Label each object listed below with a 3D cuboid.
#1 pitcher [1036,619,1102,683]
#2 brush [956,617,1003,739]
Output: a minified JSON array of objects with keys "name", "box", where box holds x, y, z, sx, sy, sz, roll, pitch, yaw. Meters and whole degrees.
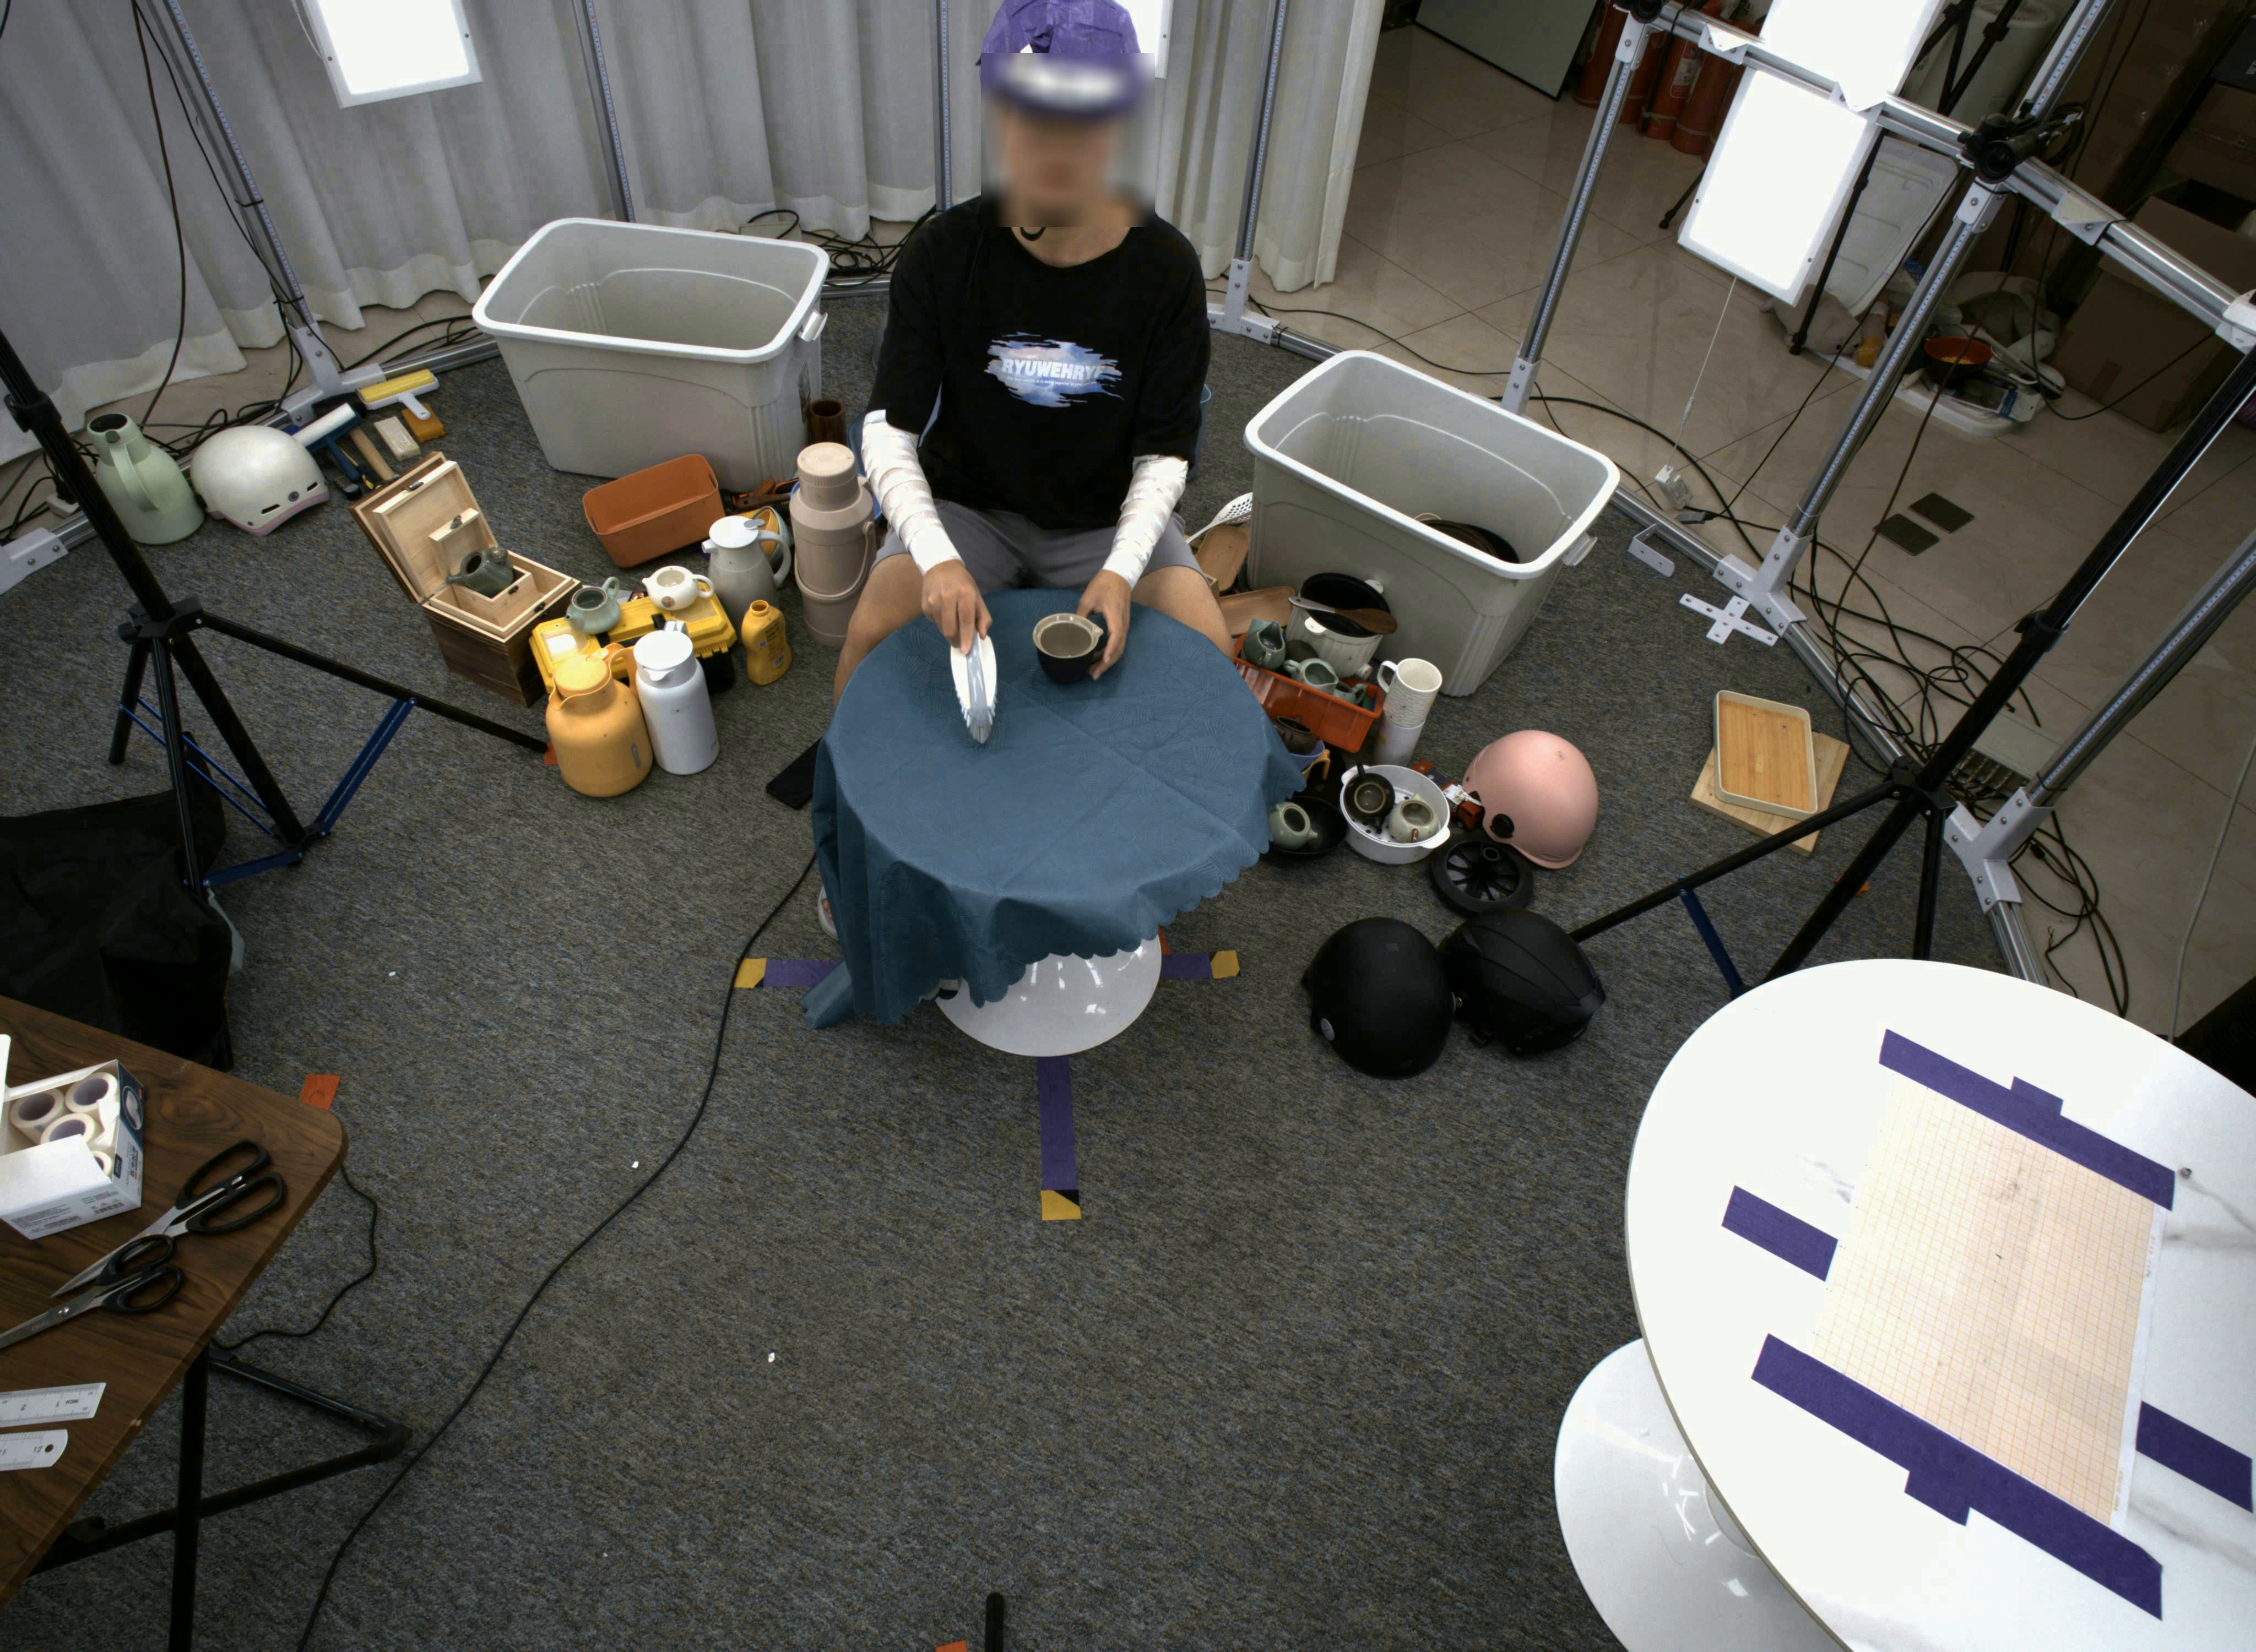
[{"name":"pitcher","box":[-0.085,-0.248,1.834,0.096,0.069,0.086,-10,50,-16]},{"name":"brush","box":[-0.205,-0.211,1.761,0.061,0.092,0.180,-8,55,-1]}]
